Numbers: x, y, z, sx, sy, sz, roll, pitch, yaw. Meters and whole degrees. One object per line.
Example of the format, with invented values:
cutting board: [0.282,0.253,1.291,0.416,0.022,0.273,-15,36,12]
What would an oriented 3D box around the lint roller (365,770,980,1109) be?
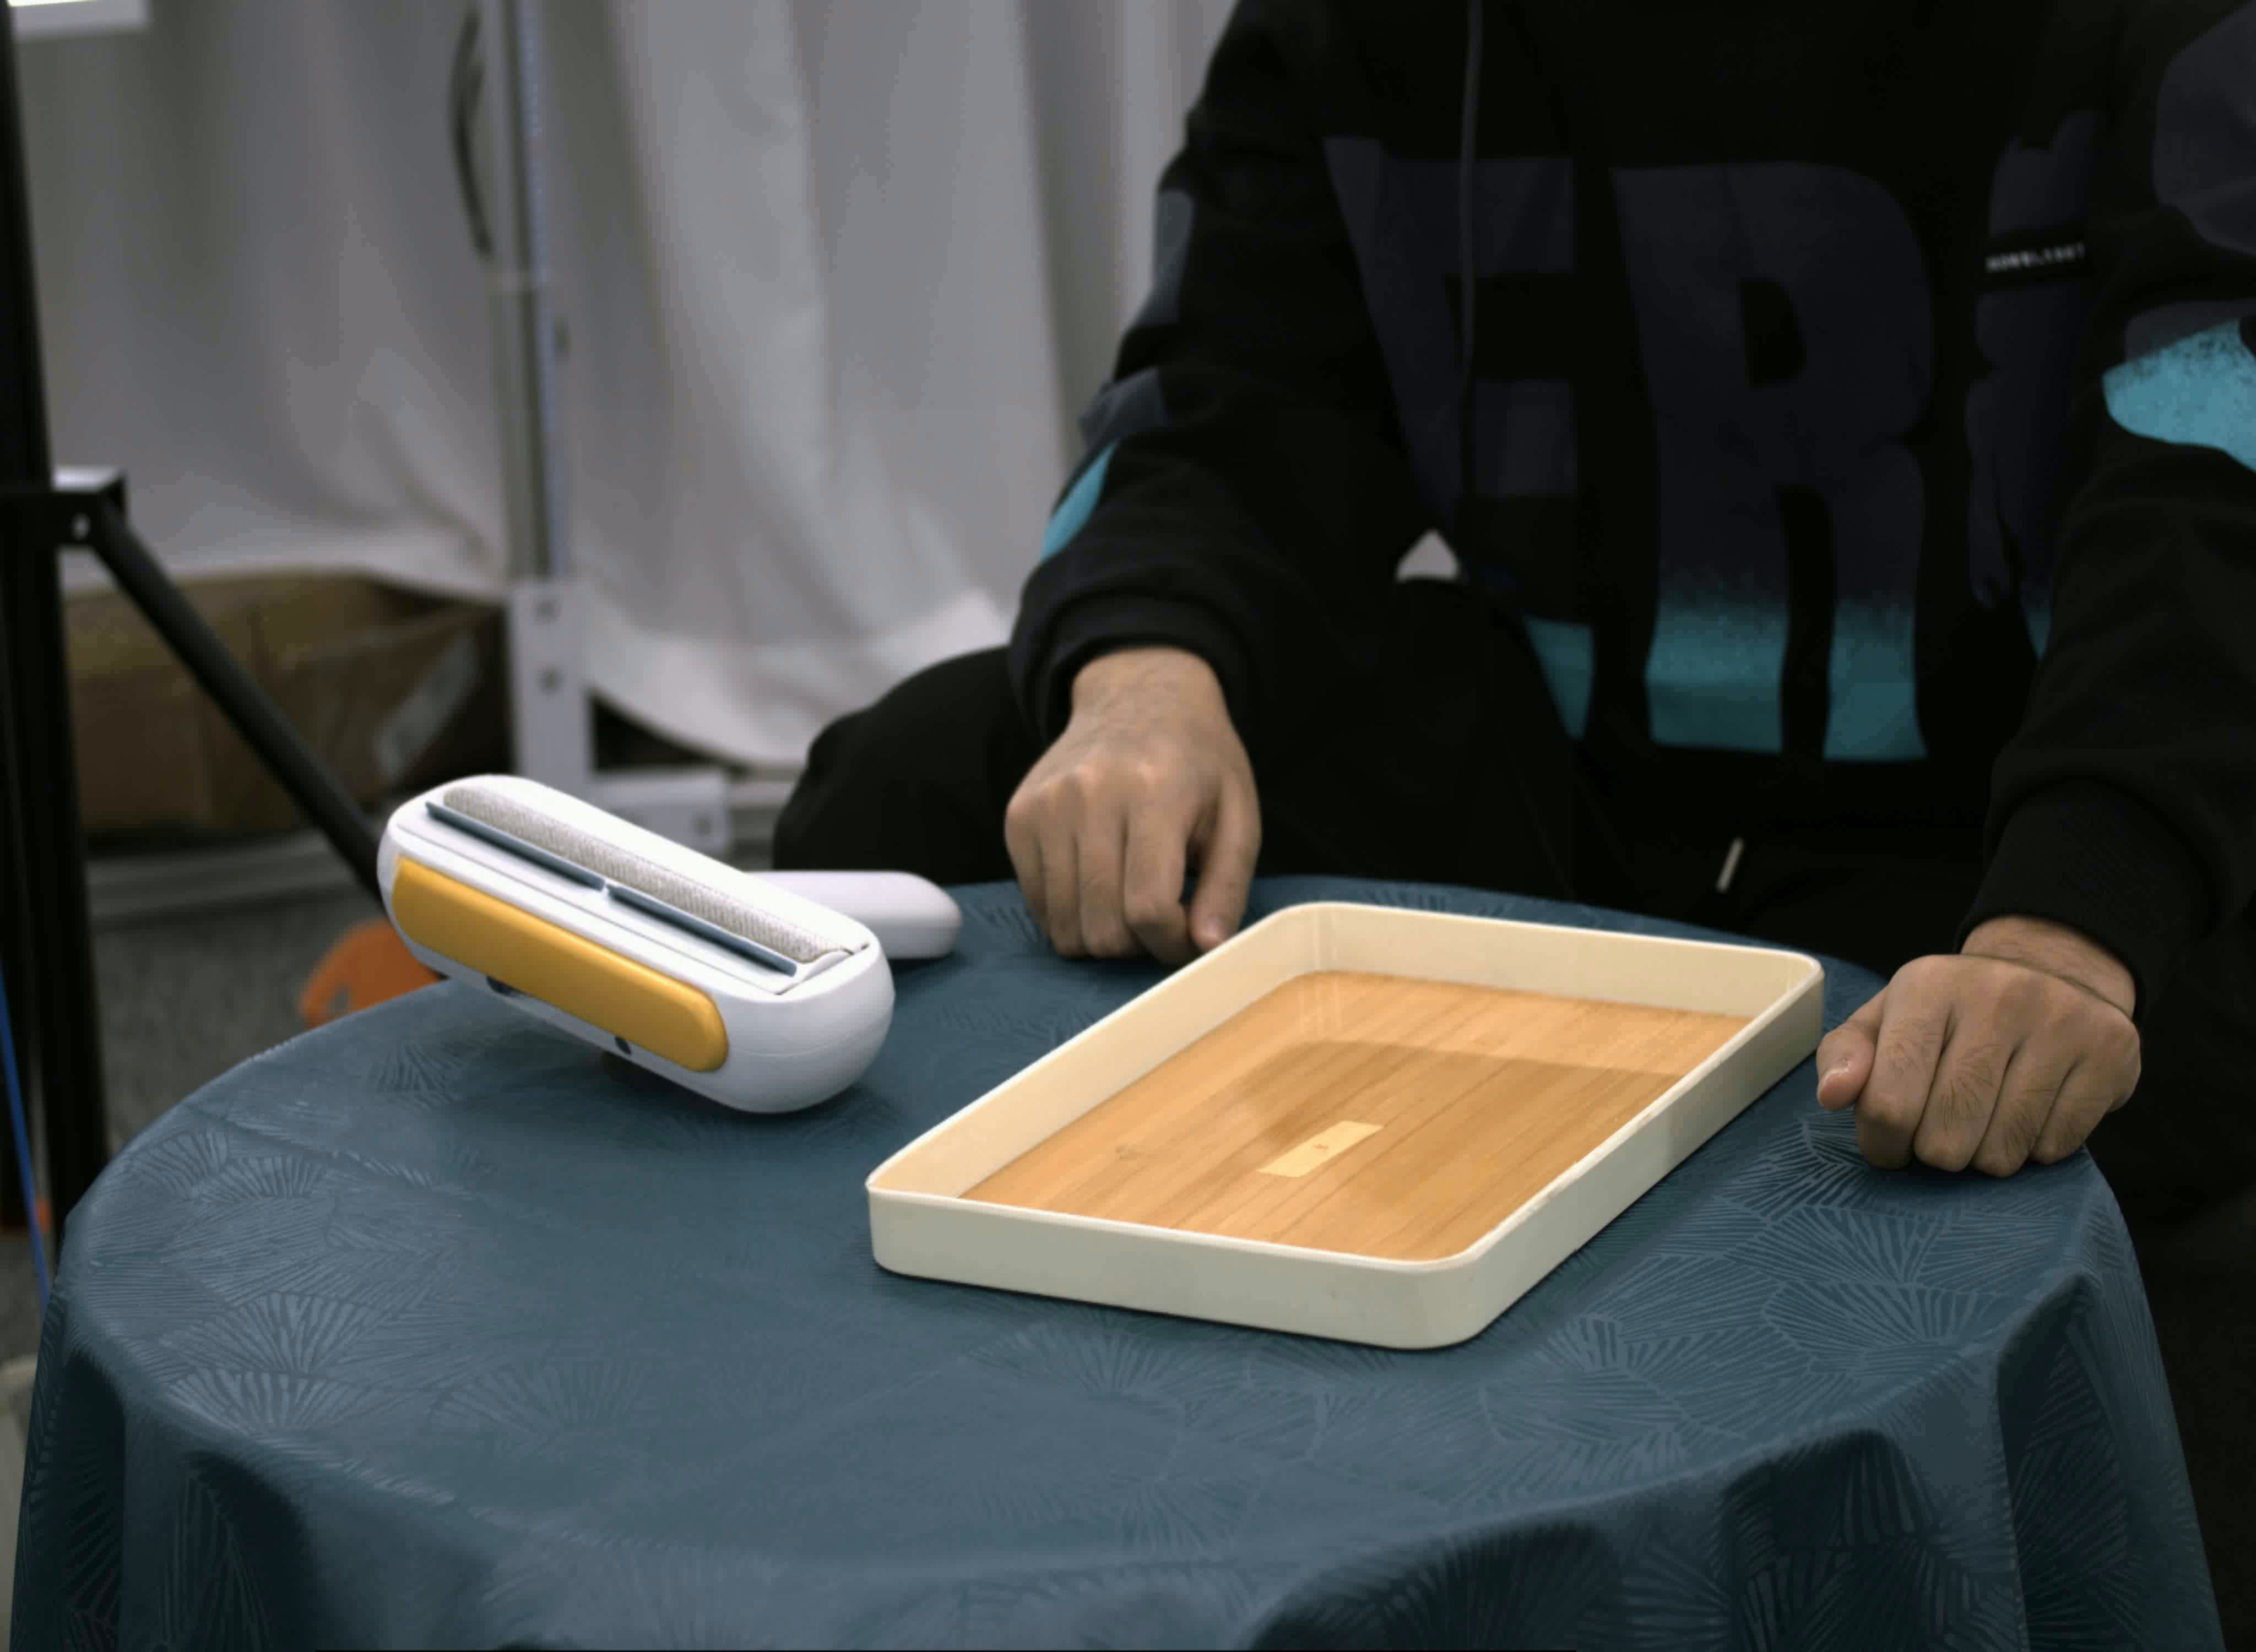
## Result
lint roller: [-0.123,0.029,1.732,0.197,0.074,0.188,19,25,41]

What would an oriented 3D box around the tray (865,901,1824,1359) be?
tray: [0.072,0.085,1.579,0.195,0.027,0.295,7,19,28]
